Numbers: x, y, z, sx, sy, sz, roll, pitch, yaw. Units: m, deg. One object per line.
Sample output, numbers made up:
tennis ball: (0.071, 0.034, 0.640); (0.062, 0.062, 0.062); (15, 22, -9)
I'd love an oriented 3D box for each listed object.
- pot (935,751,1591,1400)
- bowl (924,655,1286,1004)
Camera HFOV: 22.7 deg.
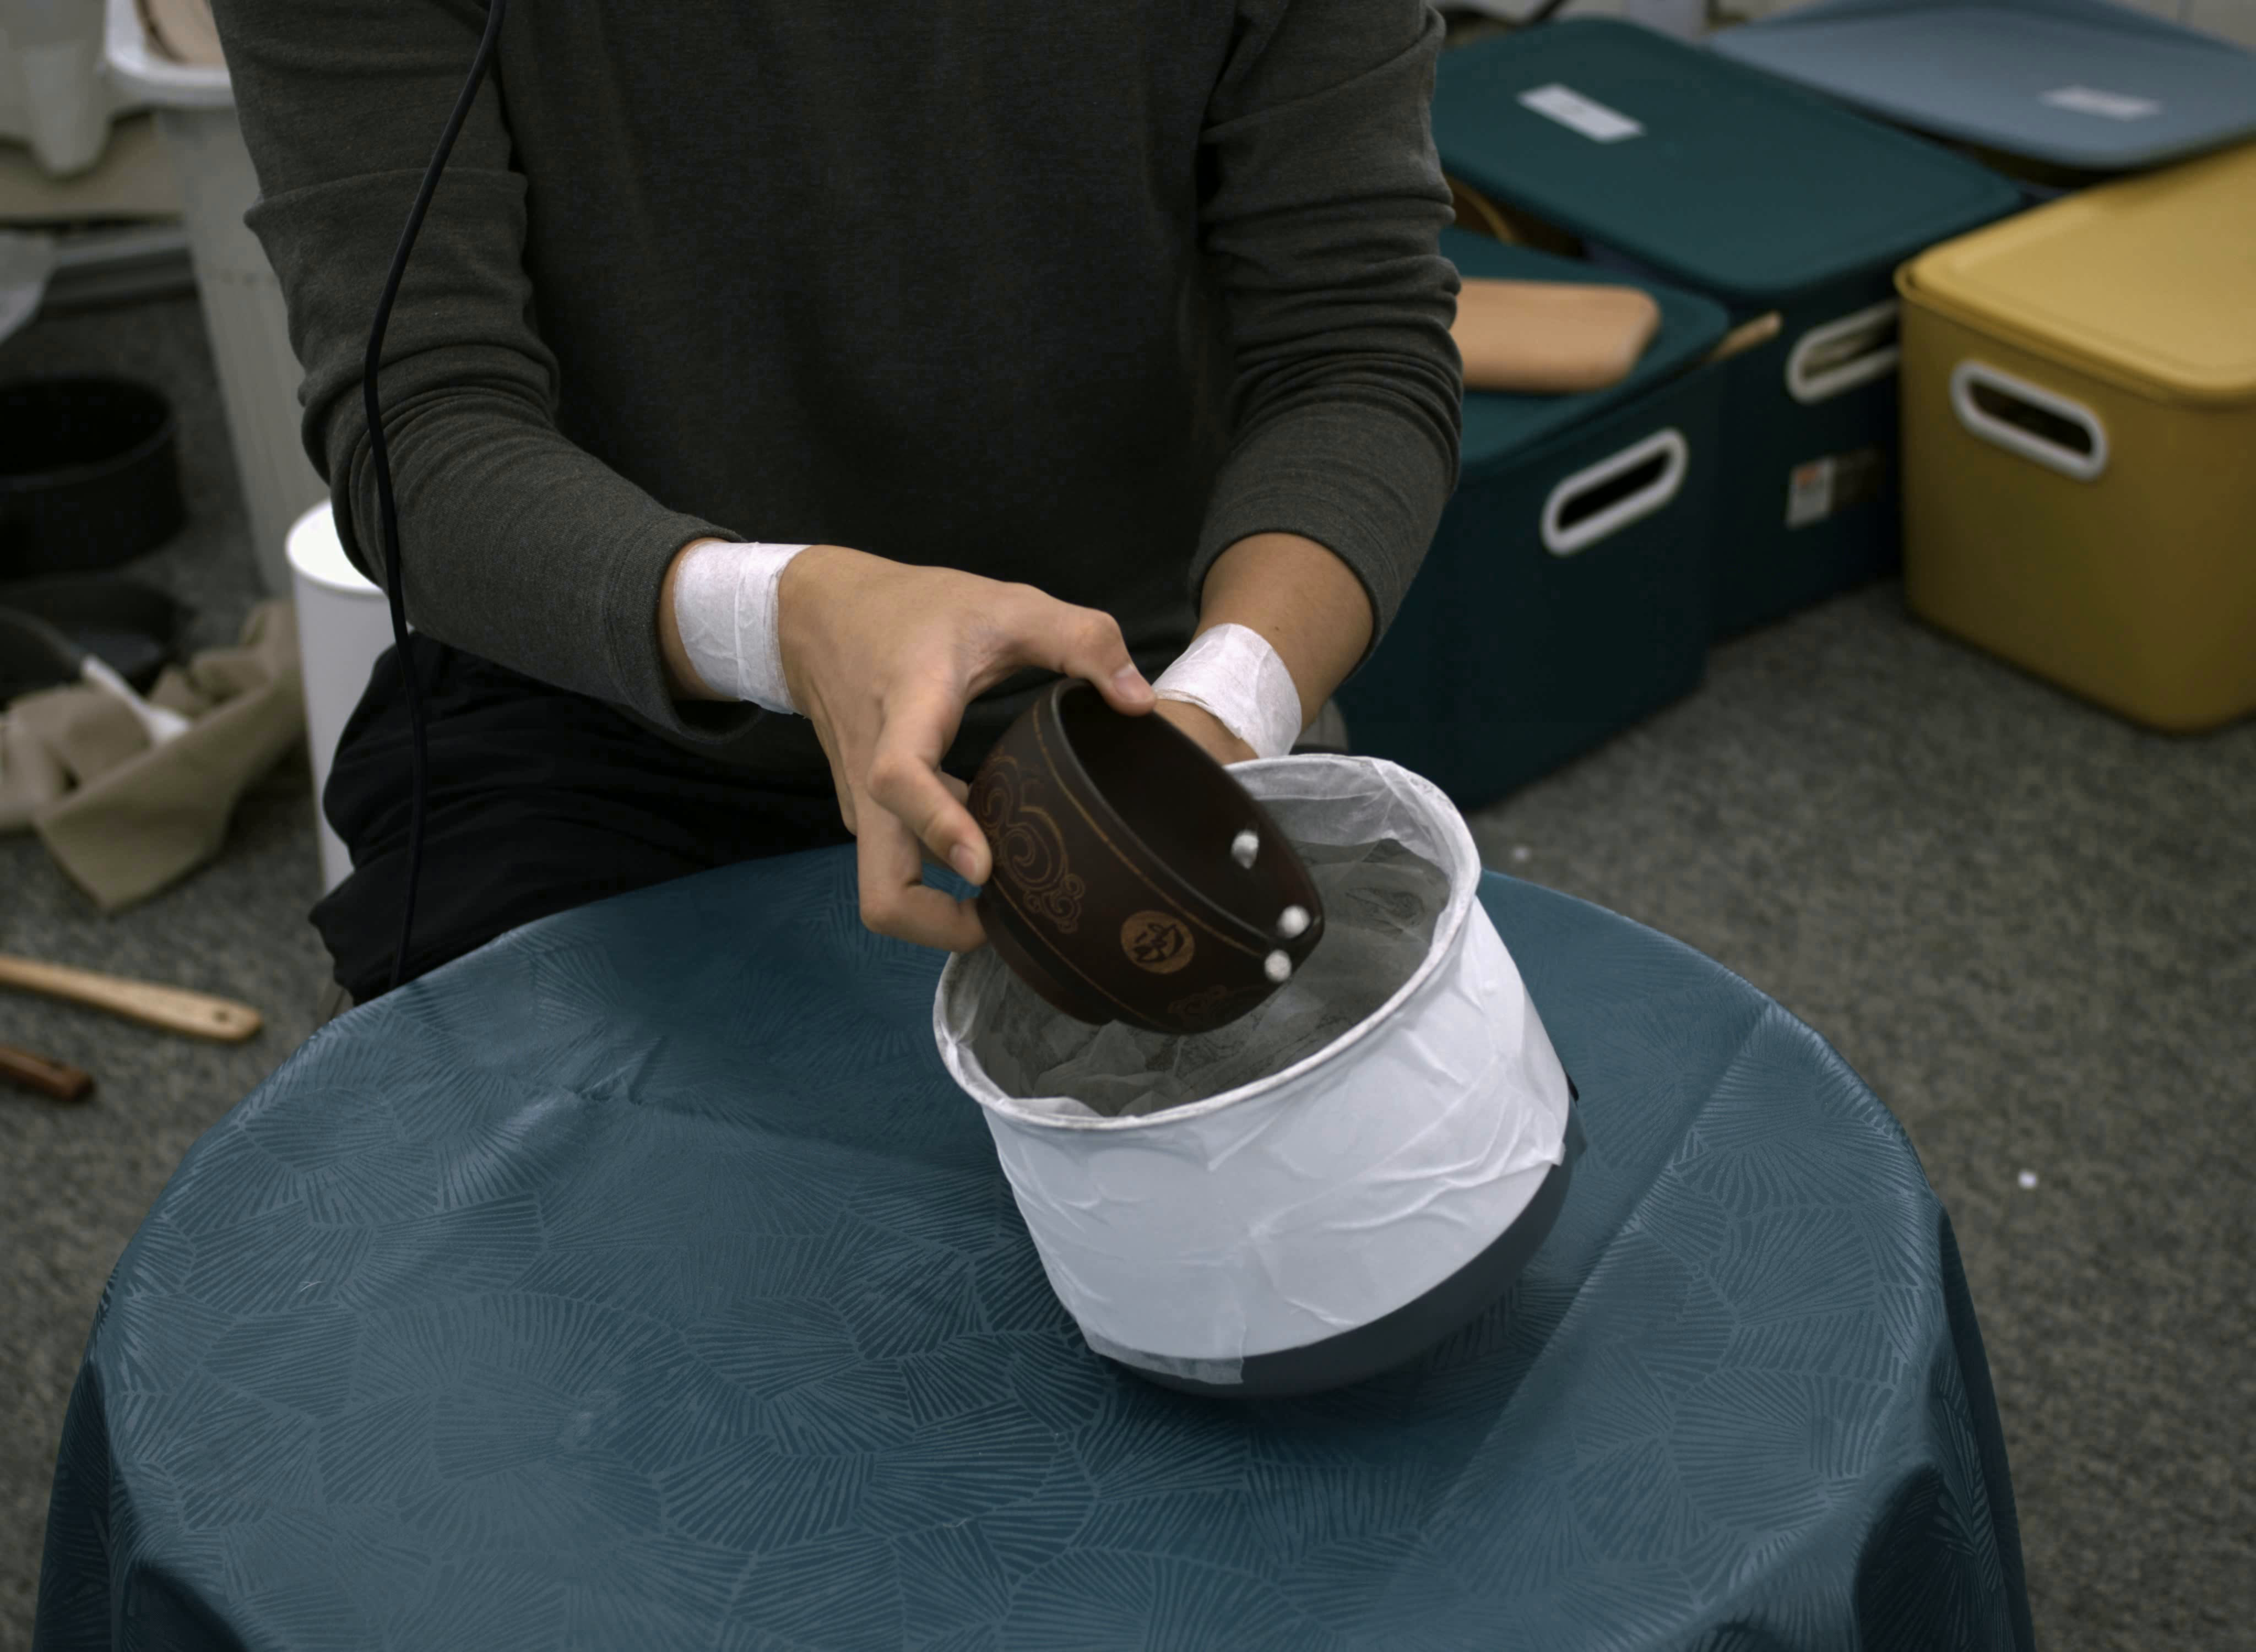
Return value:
pot: (0.036, 0.069, 1.780); (0.179, 0.135, 0.236); (-26, 32, -5)
bowl: (-0.016, 0.010, 1.745); (0.118, 0.069, 0.119); (39, 11, -8)
